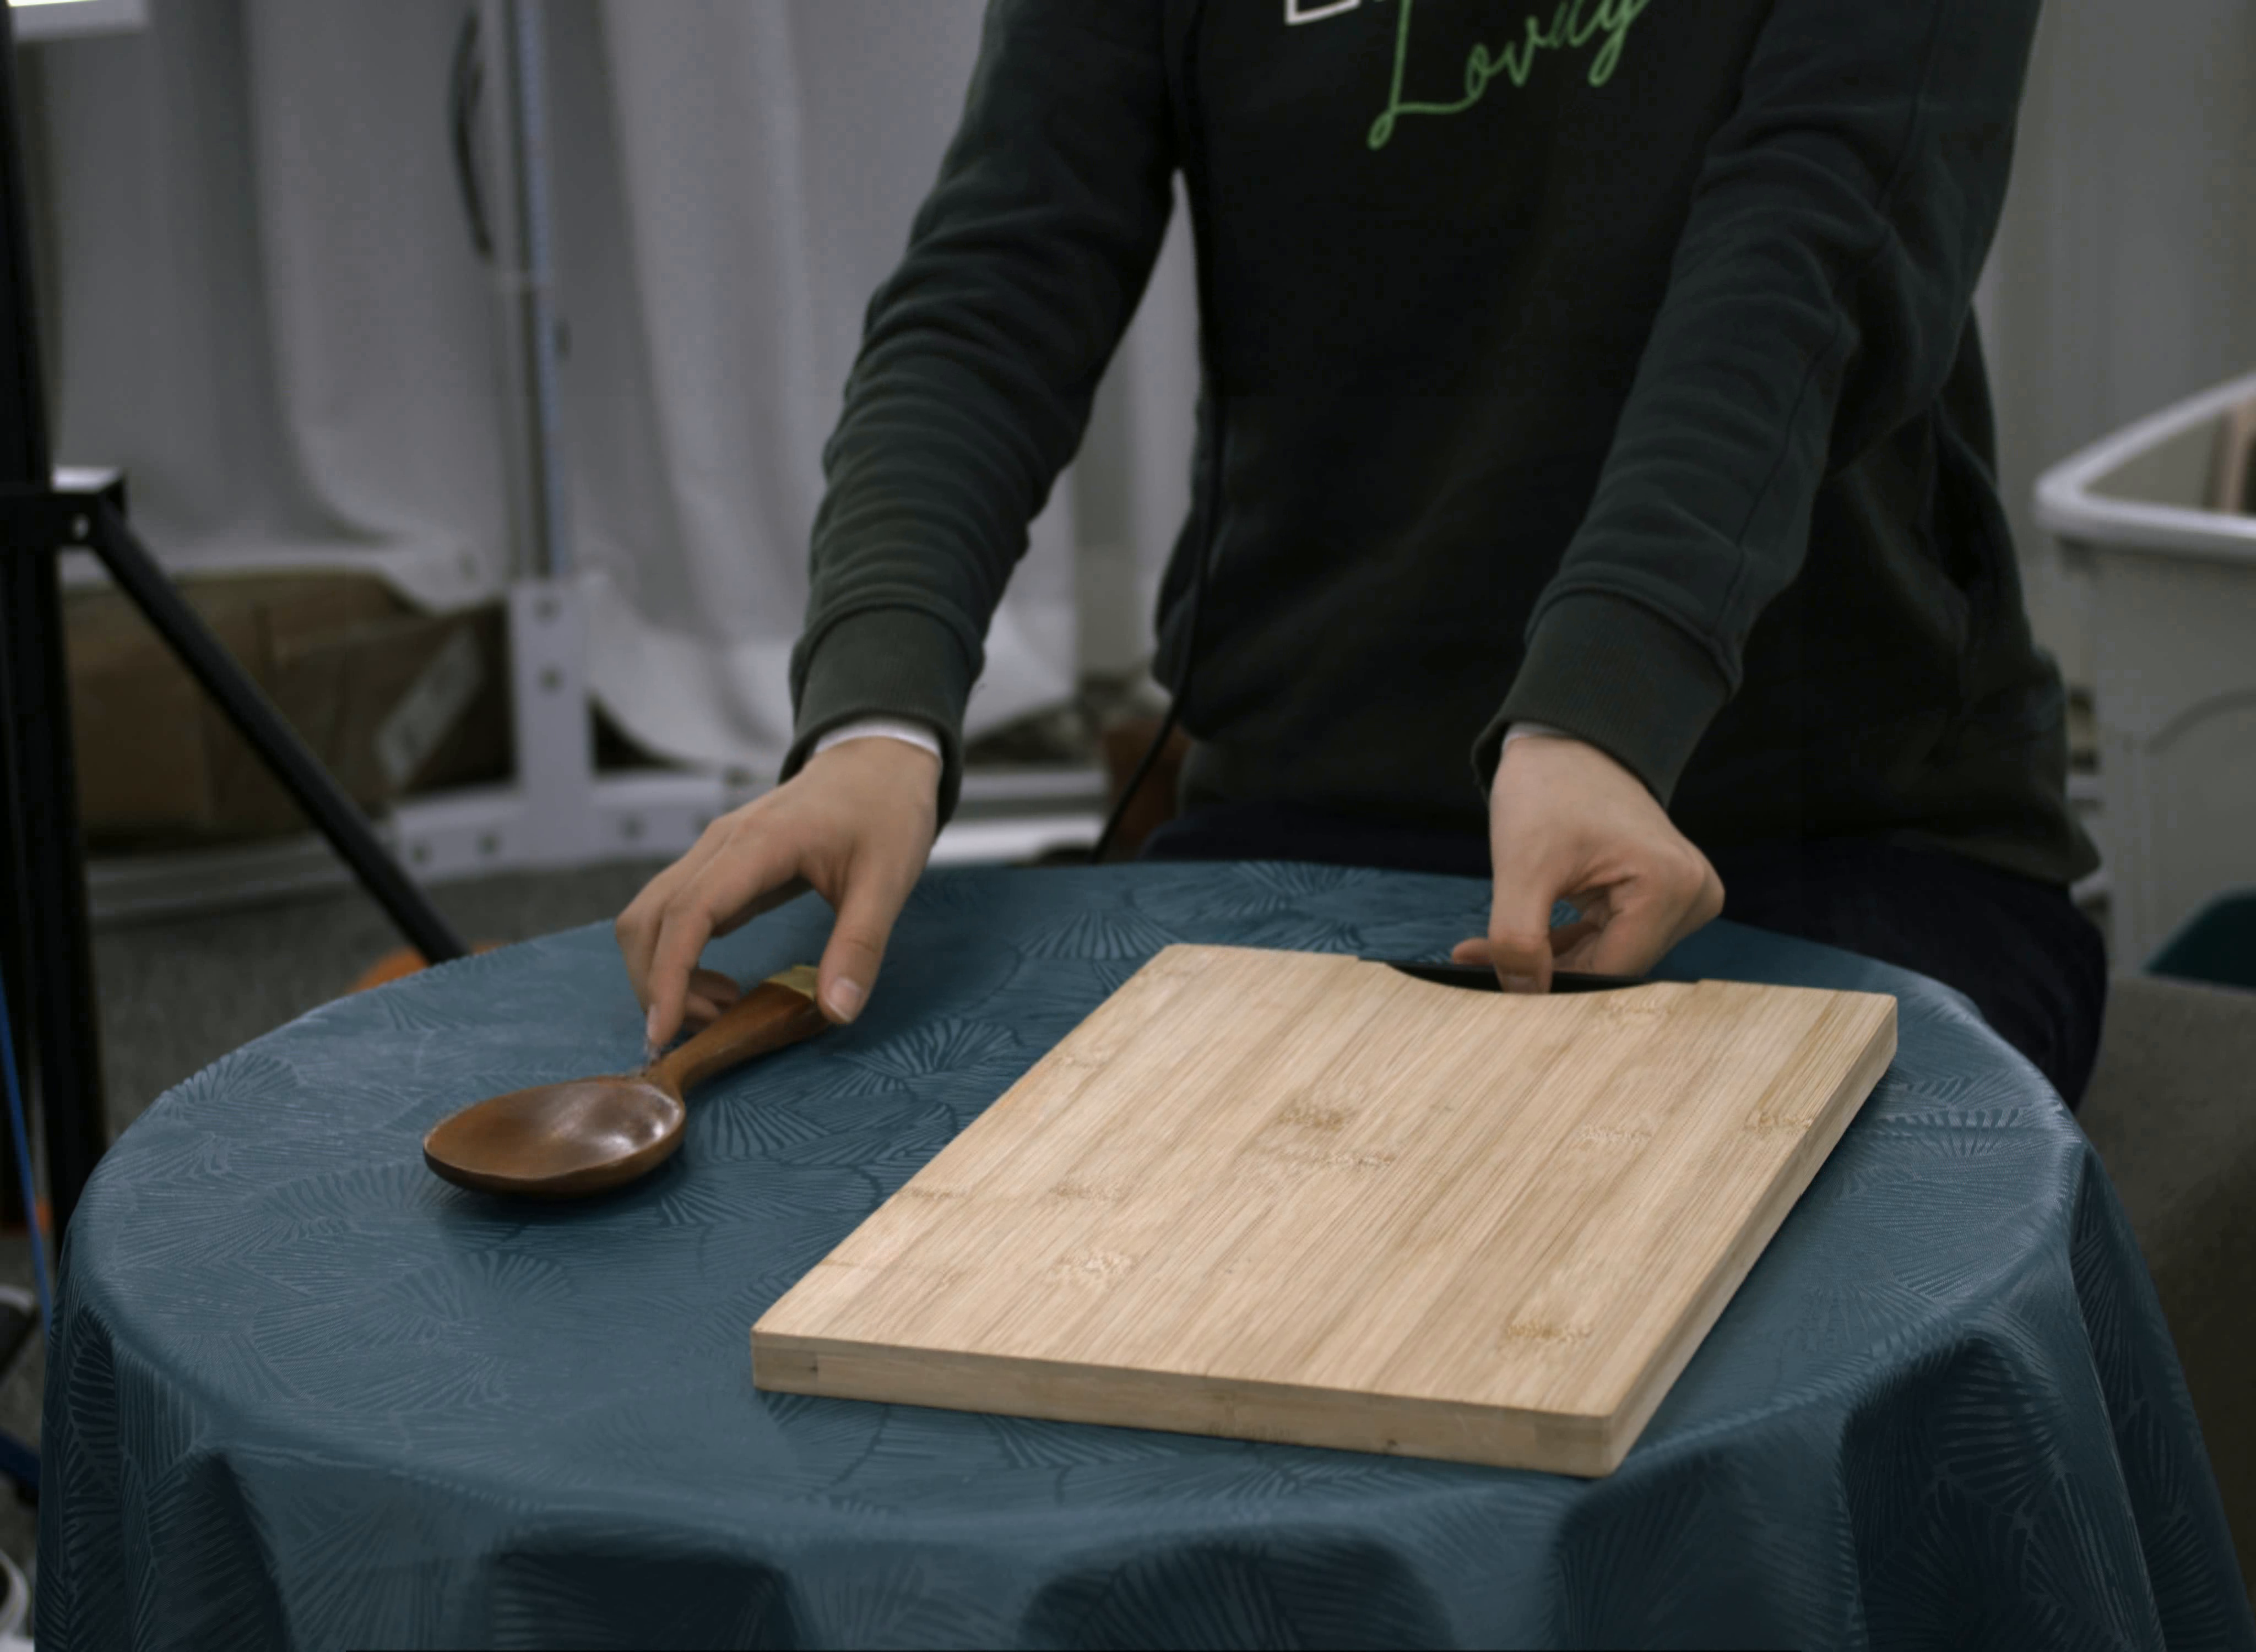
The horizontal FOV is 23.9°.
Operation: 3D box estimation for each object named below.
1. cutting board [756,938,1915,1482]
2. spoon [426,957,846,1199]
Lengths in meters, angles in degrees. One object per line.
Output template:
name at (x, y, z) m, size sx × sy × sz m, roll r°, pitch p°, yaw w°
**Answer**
cutting board at (0.071, 0.102, 1.531) m, size 0.253 × 0.023 × 0.345 m, roll 4°, pitch 18°, yaw 20°
spoon at (-0.143, 0.079, 1.650) m, size 0.076 × 0.017 × 0.212 m, roll 3°, pitch 17°, yaw 25°
